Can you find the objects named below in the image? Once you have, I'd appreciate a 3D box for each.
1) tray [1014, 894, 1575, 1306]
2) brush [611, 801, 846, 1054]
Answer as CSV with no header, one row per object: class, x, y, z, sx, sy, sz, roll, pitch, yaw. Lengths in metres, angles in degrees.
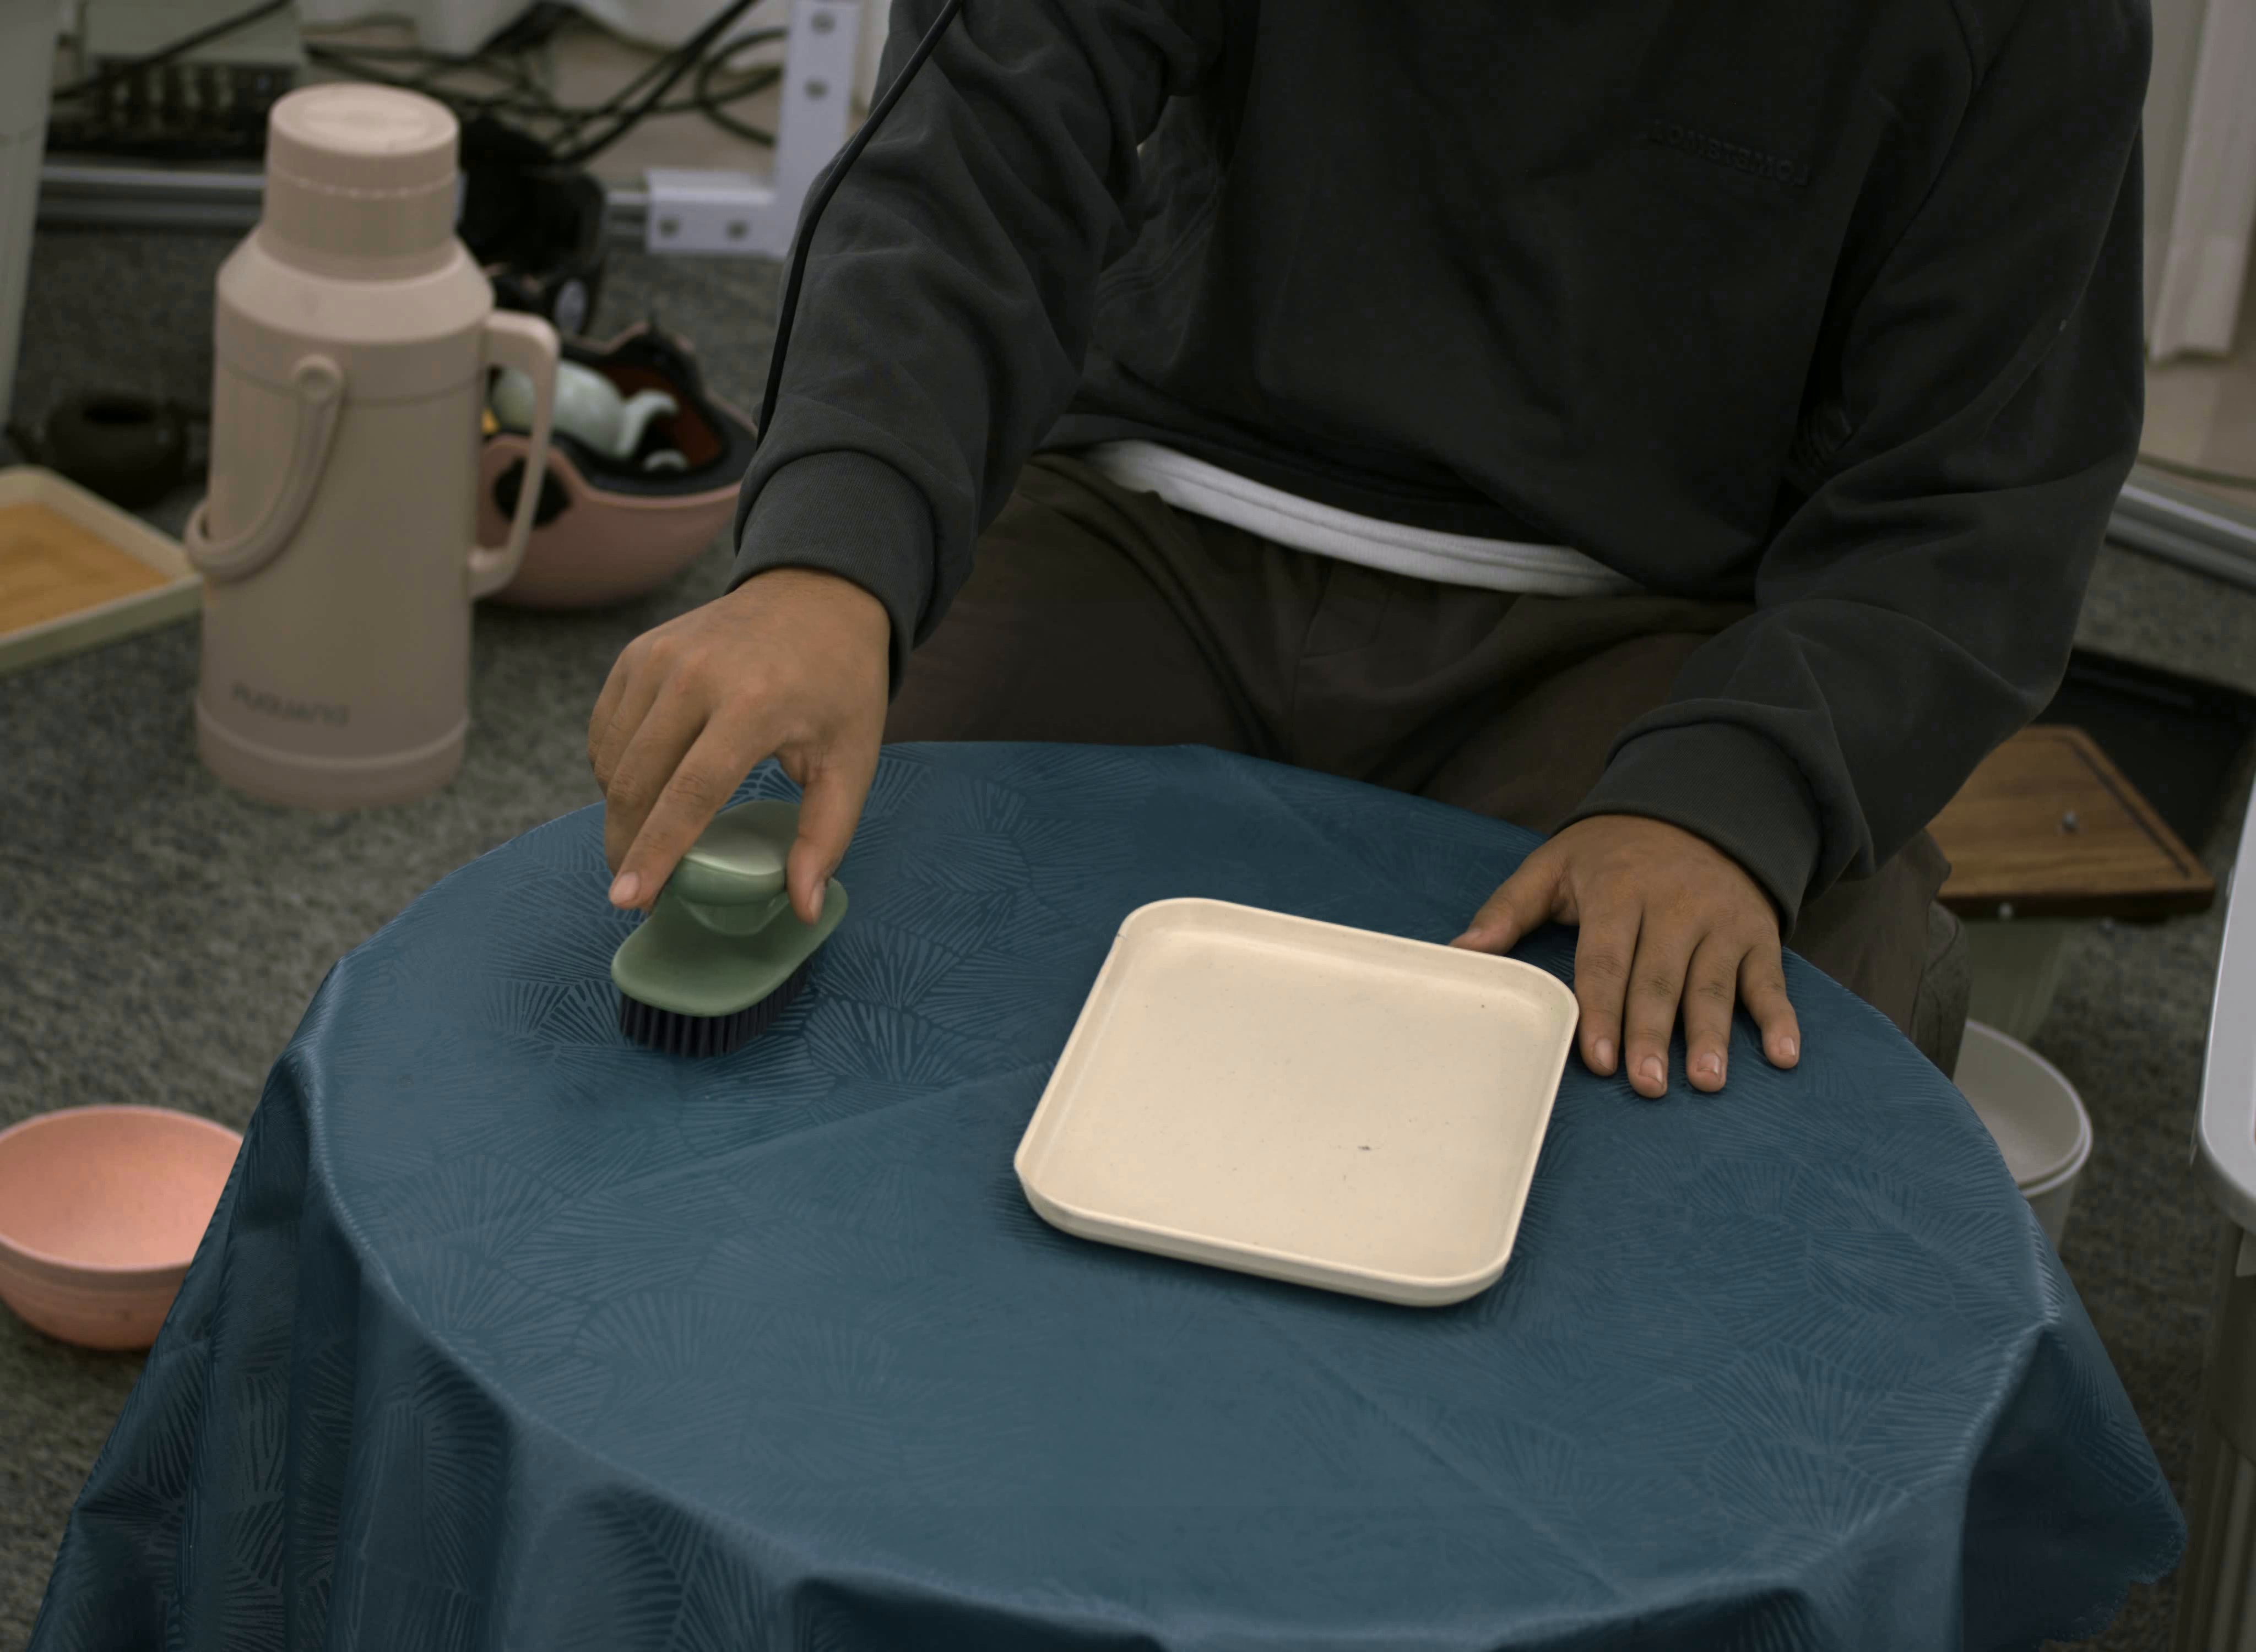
tray,0.061,0.094,1.858,0.171,0.017,0.240,12,27,8
brush,-0.141,0.034,1.890,0.060,0.076,0.123,16,14,15
